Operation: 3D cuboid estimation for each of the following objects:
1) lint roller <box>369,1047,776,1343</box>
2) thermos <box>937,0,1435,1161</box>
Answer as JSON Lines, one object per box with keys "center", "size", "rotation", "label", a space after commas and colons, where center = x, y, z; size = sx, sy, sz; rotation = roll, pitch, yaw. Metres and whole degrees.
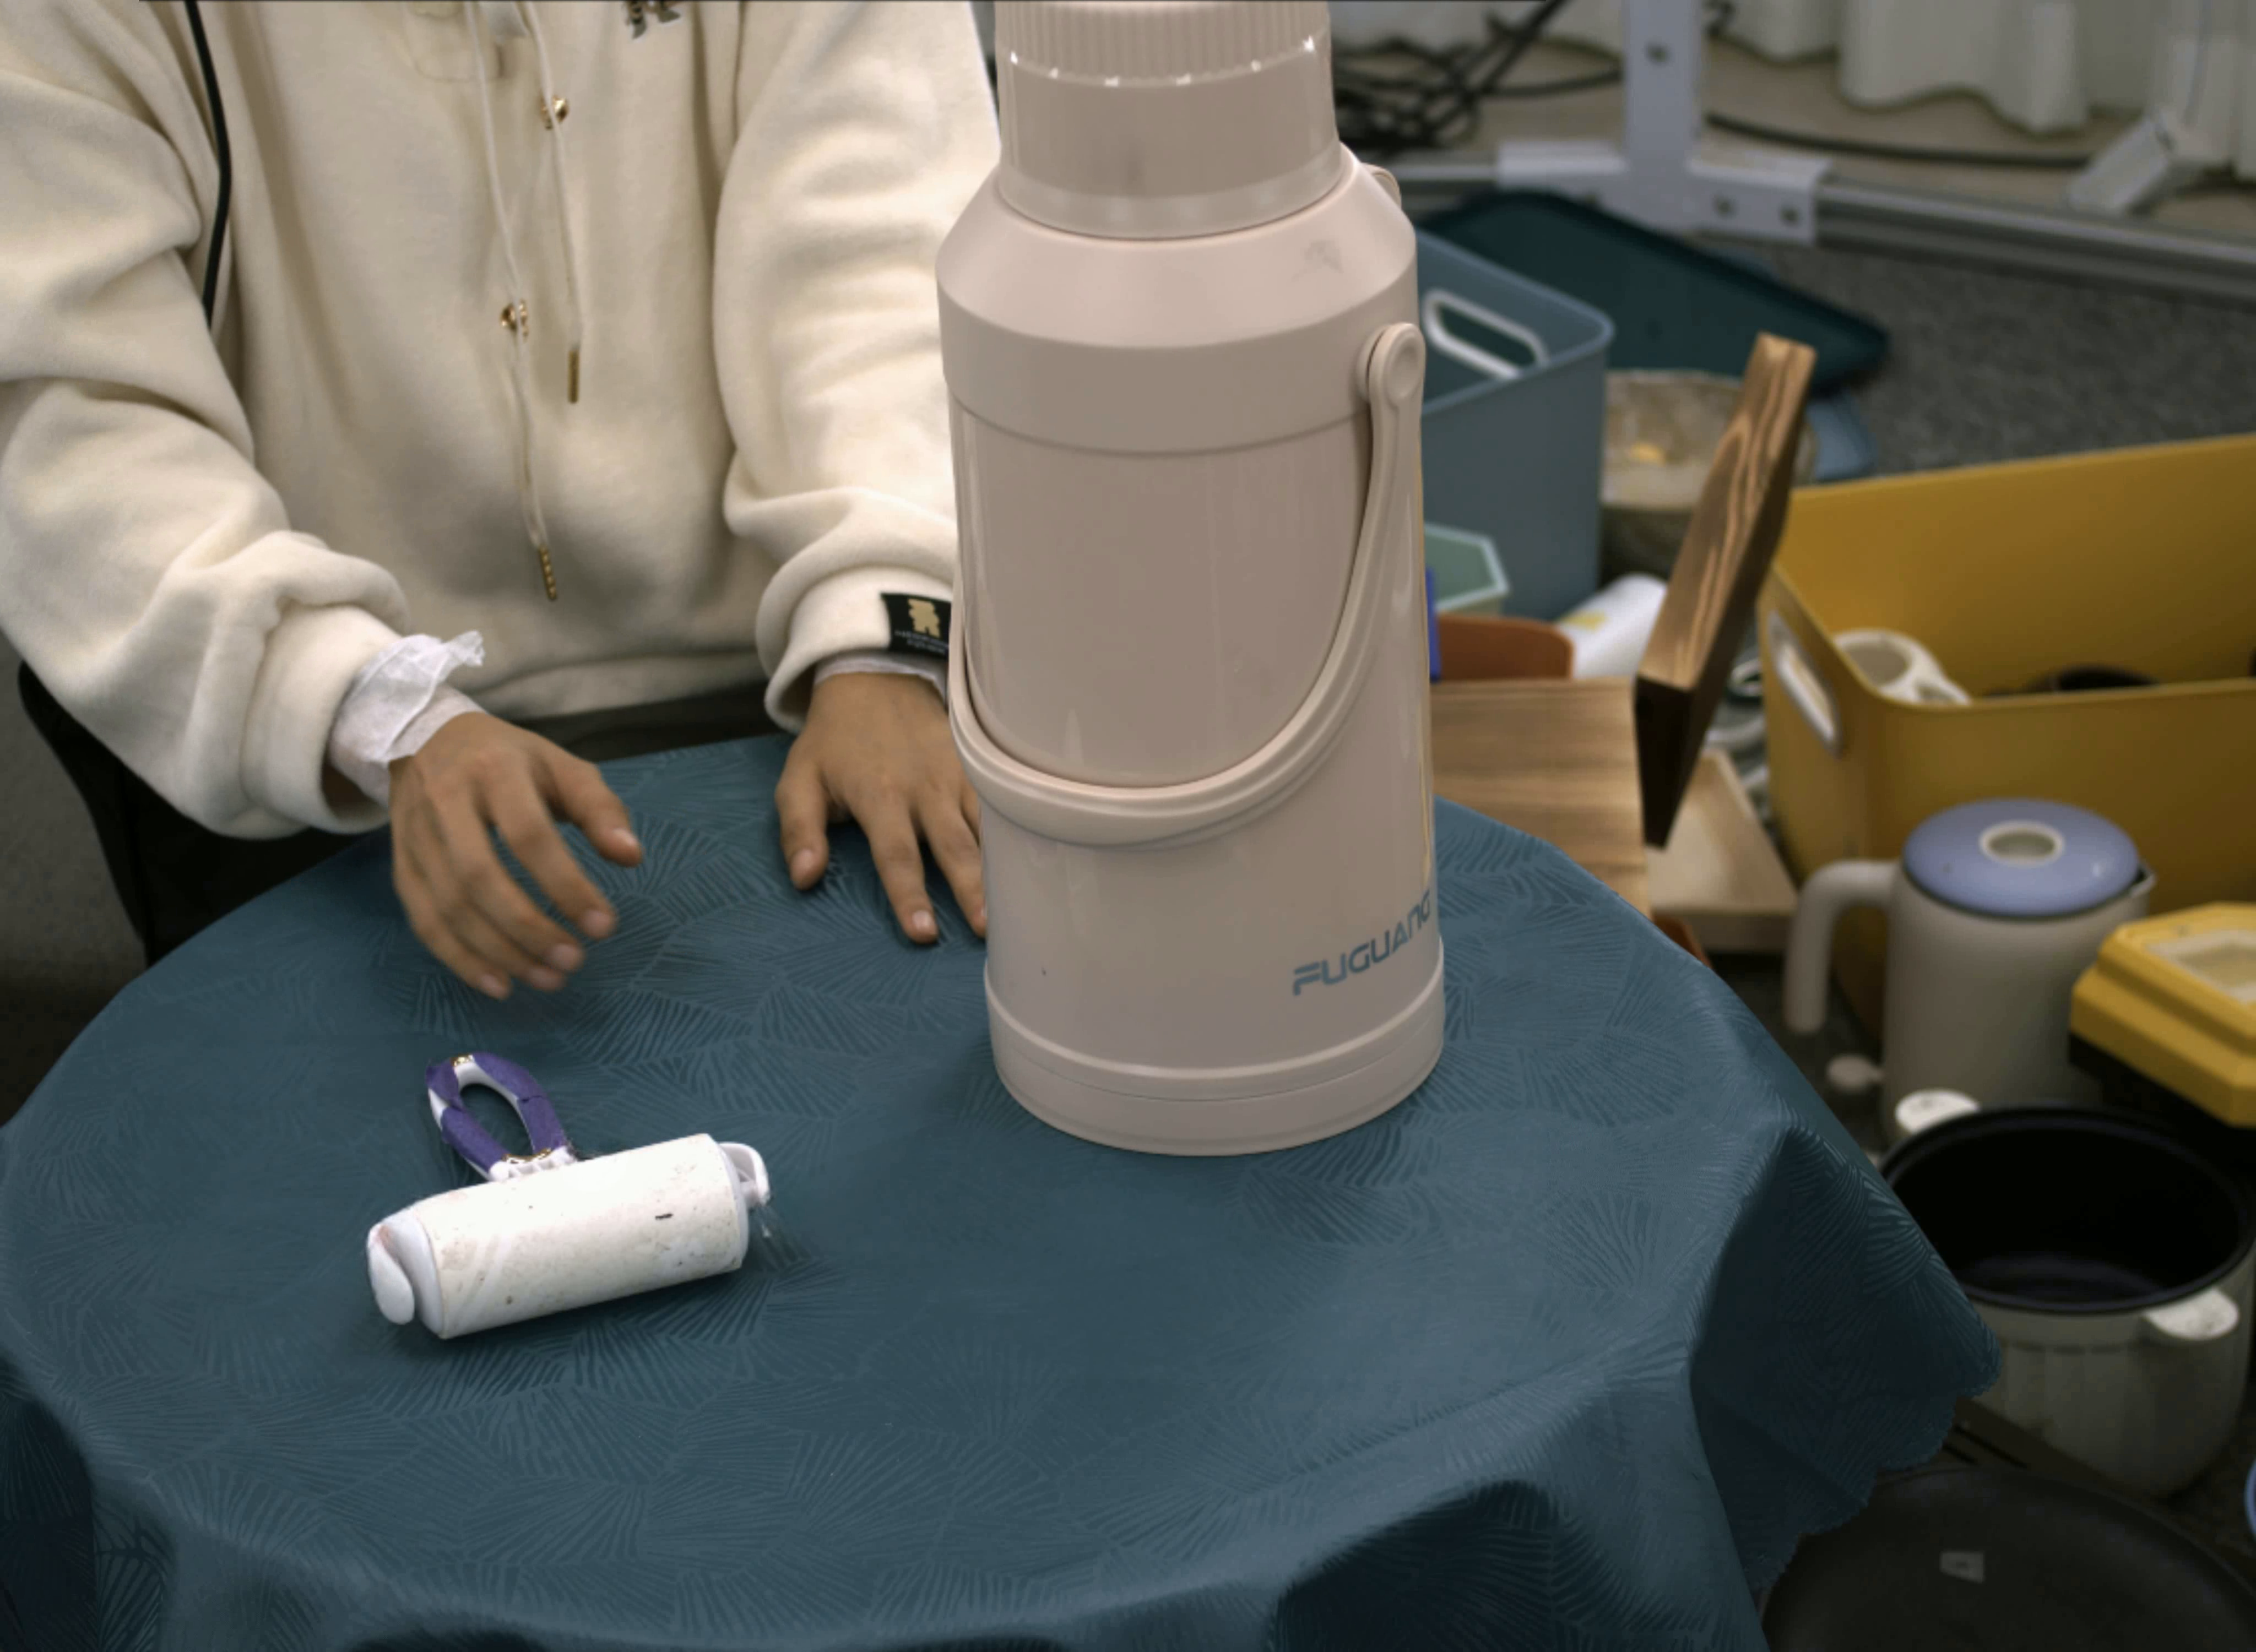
{"center": [-0.198, 0.104, 1.863], "size": [0.133, 0.049, 0.182], "rotation": [-12, 31, -15], "label": "lint roller"}
{"center": [0.029, -0.105, 1.872], "size": [0.174, 0.402, 0.210], "rotation": [14, 31, 32], "label": "thermos"}
